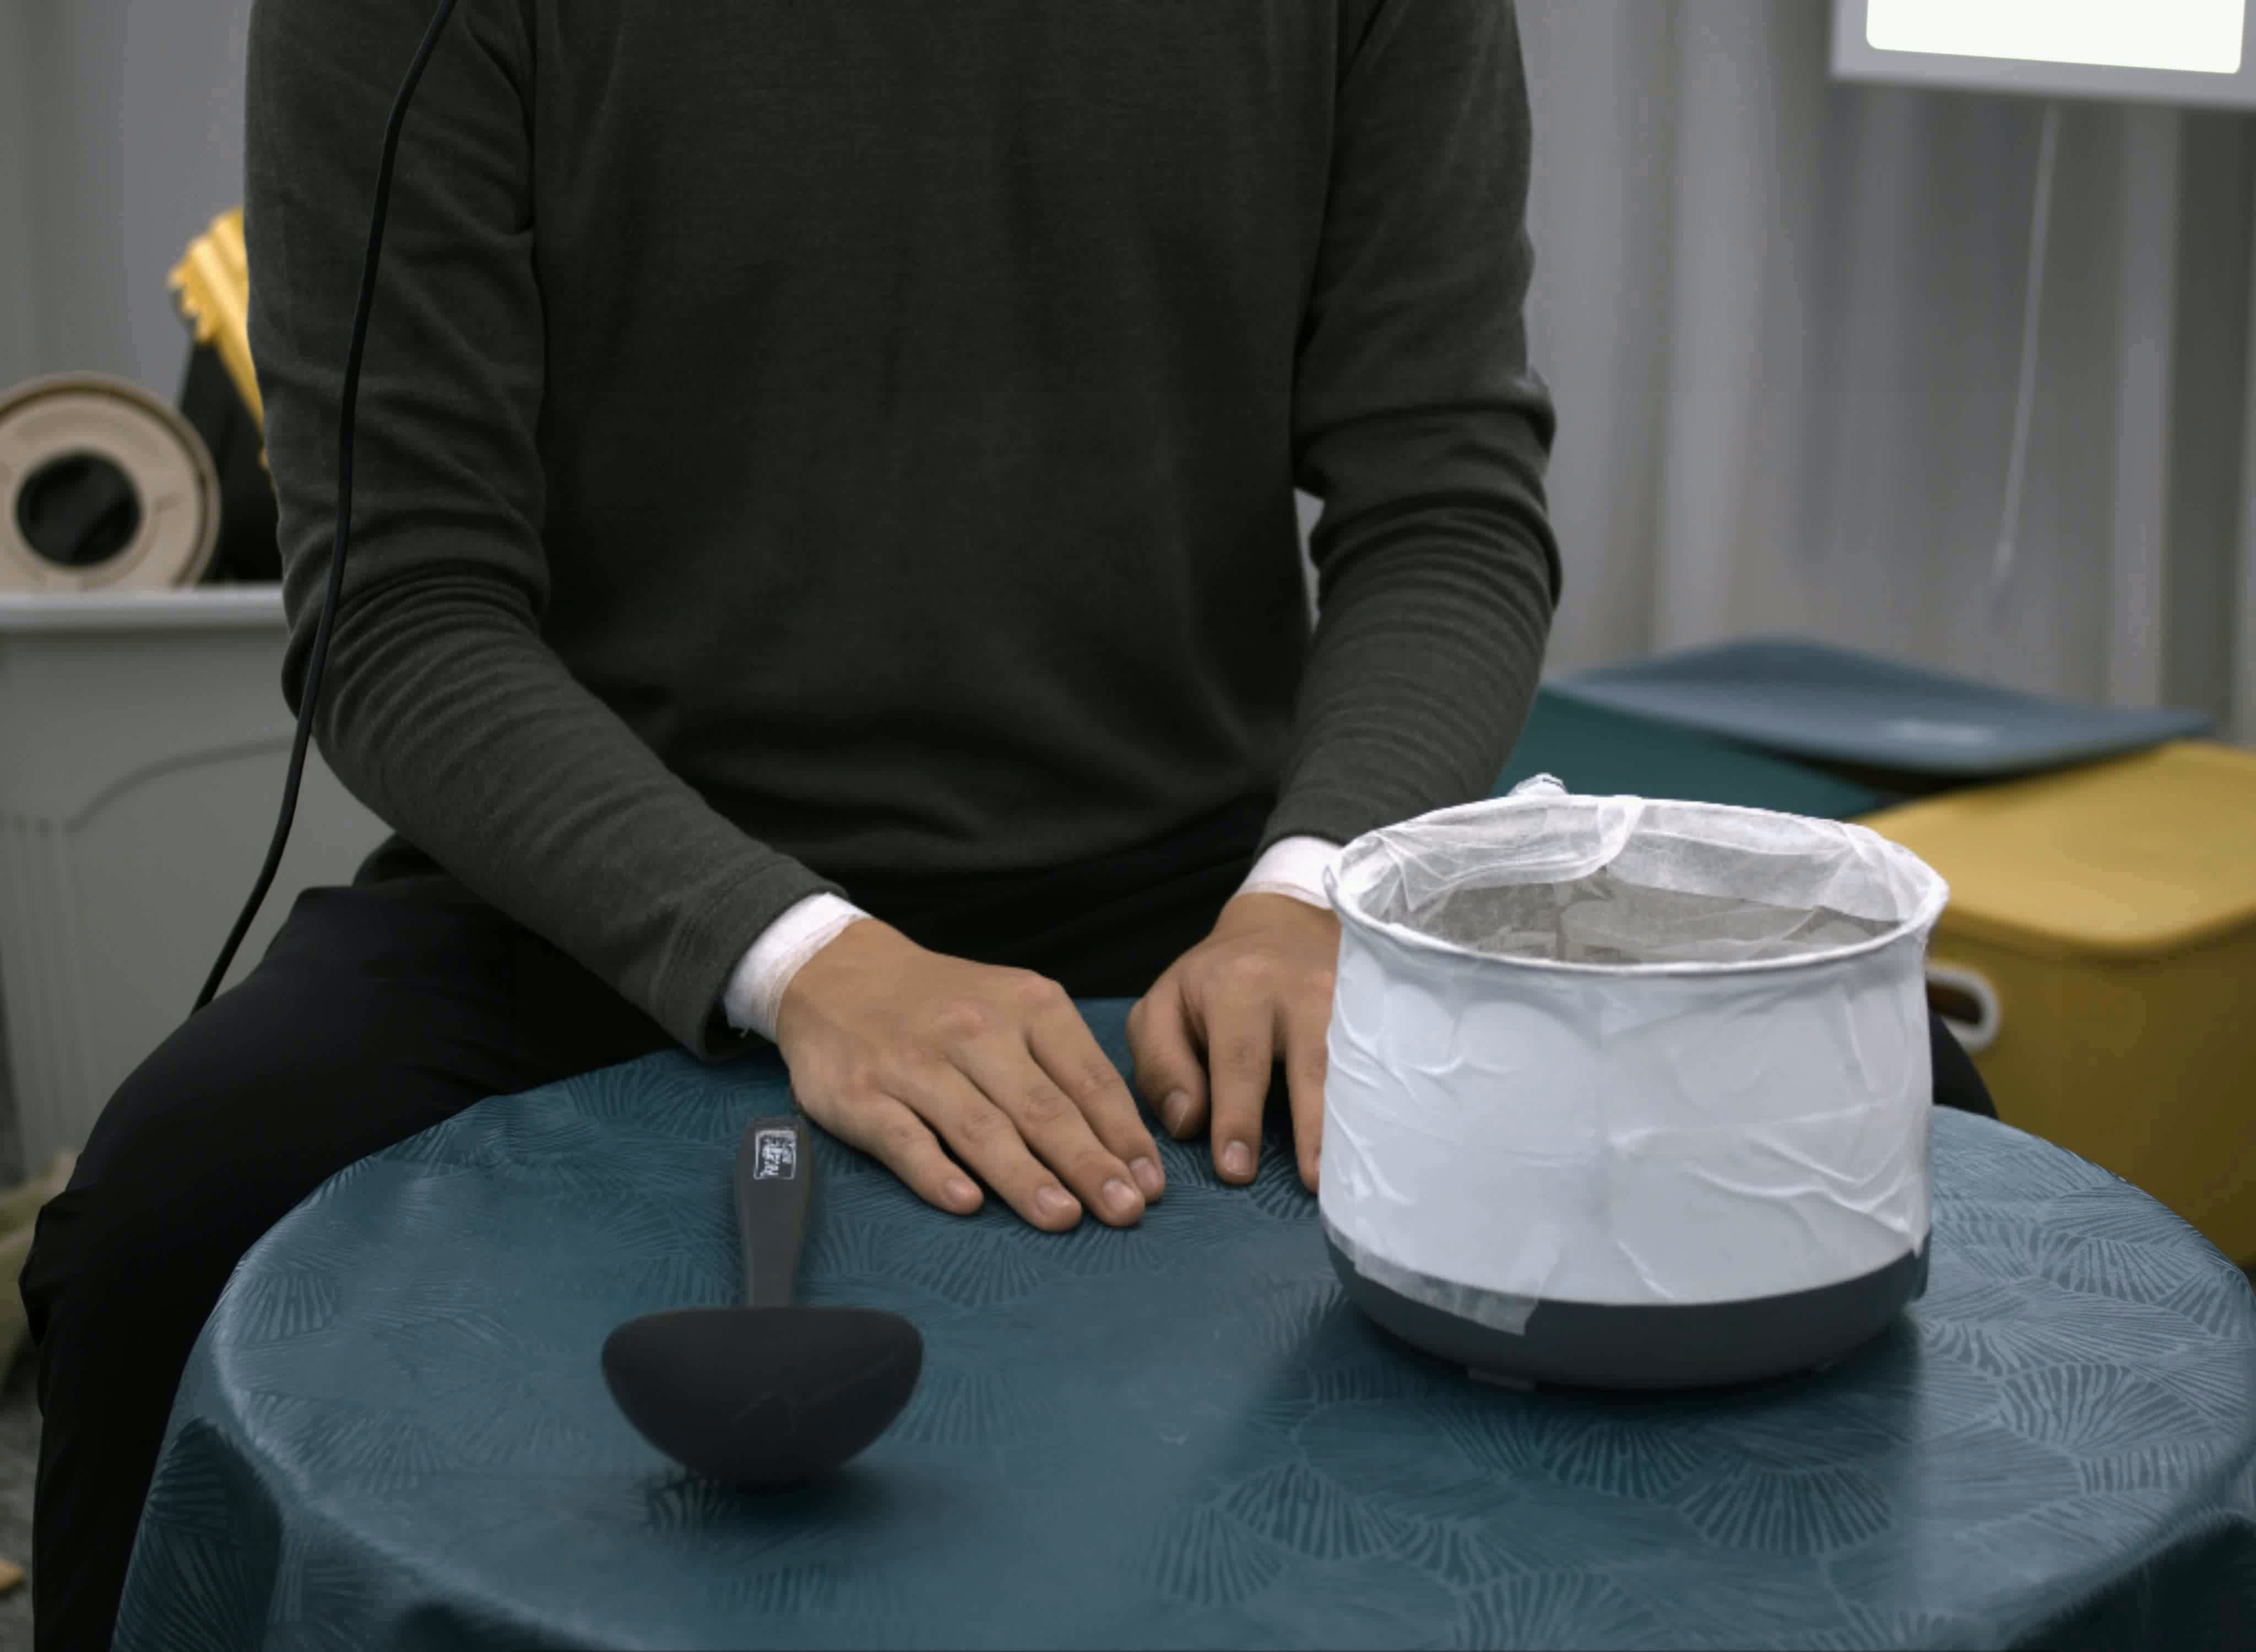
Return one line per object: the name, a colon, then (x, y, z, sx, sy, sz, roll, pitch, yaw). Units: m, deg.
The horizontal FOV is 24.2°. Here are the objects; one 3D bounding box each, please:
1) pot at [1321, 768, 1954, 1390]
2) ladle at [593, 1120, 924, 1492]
pot: (0.138, 0.068, 1.531, 0.179, 0.138, 0.231, -3, 16, -12)
ladle: (-0.102, 0.115, 1.494, 0.086, 0.064, 0.312, 4, 15, -4)
